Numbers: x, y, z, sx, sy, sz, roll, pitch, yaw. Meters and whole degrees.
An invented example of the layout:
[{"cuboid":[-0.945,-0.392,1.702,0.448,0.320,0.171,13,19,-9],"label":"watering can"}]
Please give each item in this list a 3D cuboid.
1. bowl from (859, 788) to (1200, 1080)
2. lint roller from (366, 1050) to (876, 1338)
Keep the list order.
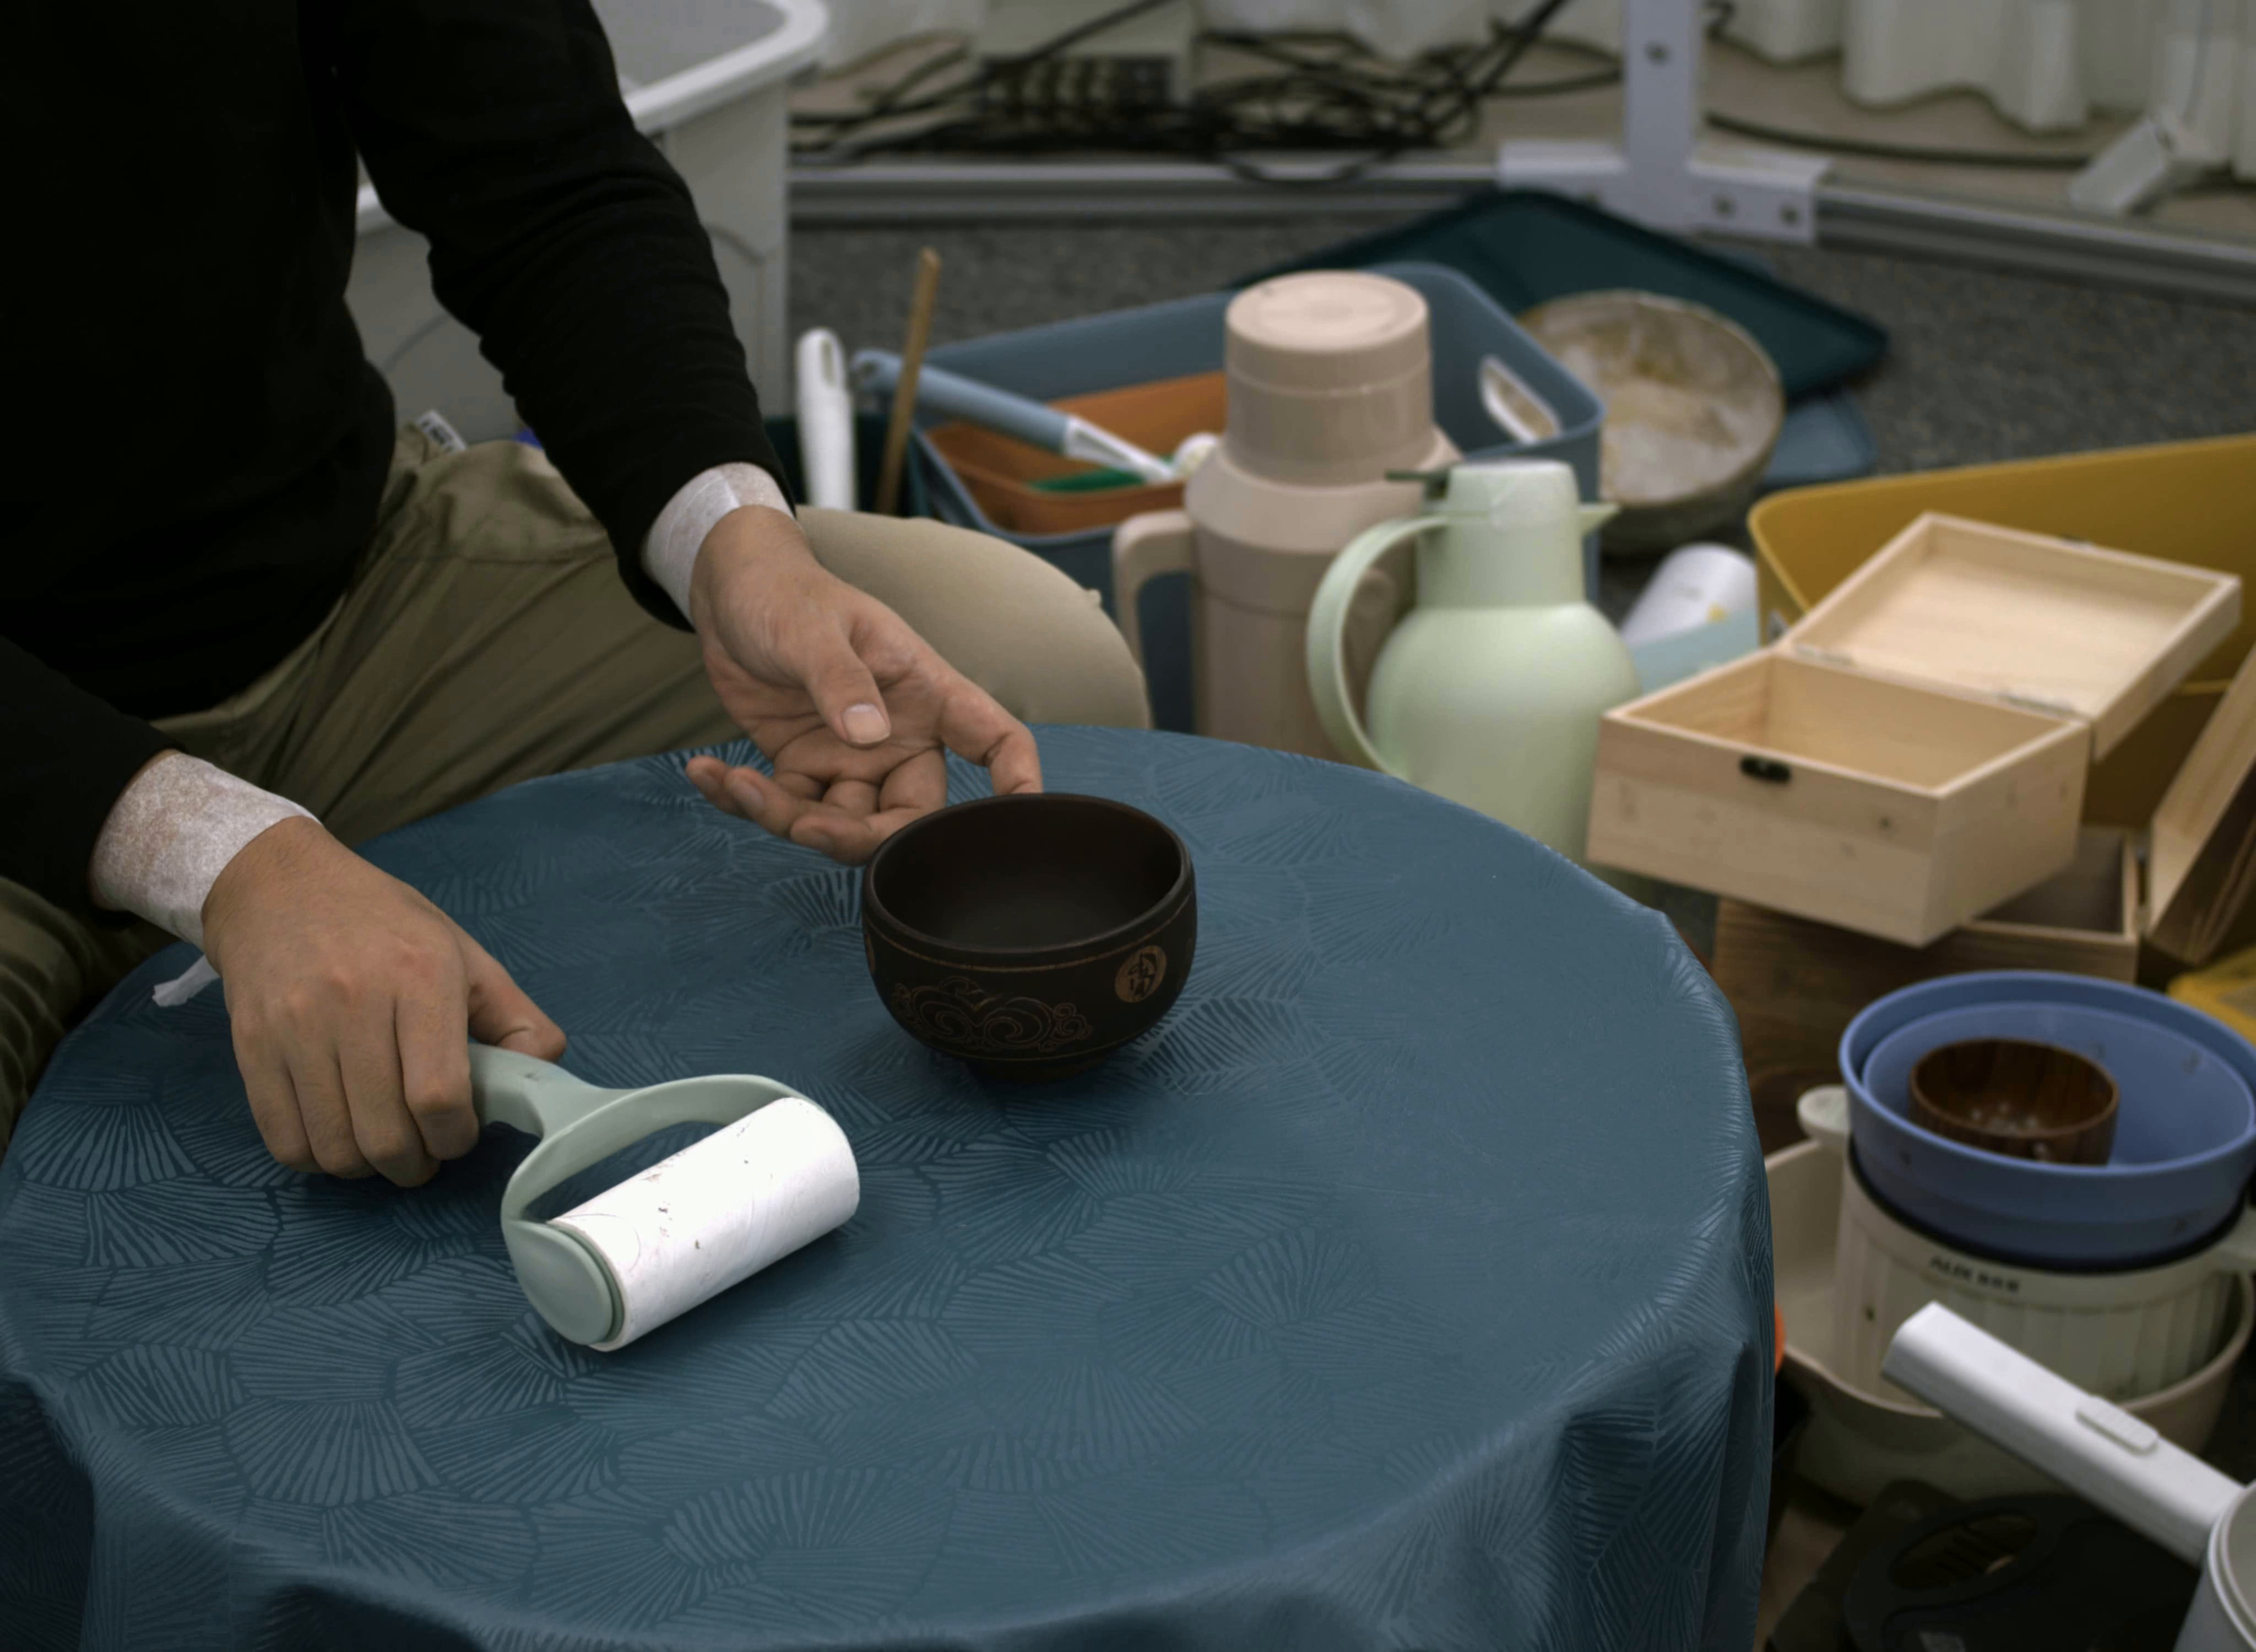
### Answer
[{"cuboid":[-0.032,0.044,1.938,0.117,0.069,0.120,-4,27,2],"label":"bowl"},{"cuboid":[-0.185,0.103,1.862,0.197,0.048,0.118,23,38,40],"label":"lint roller"}]
